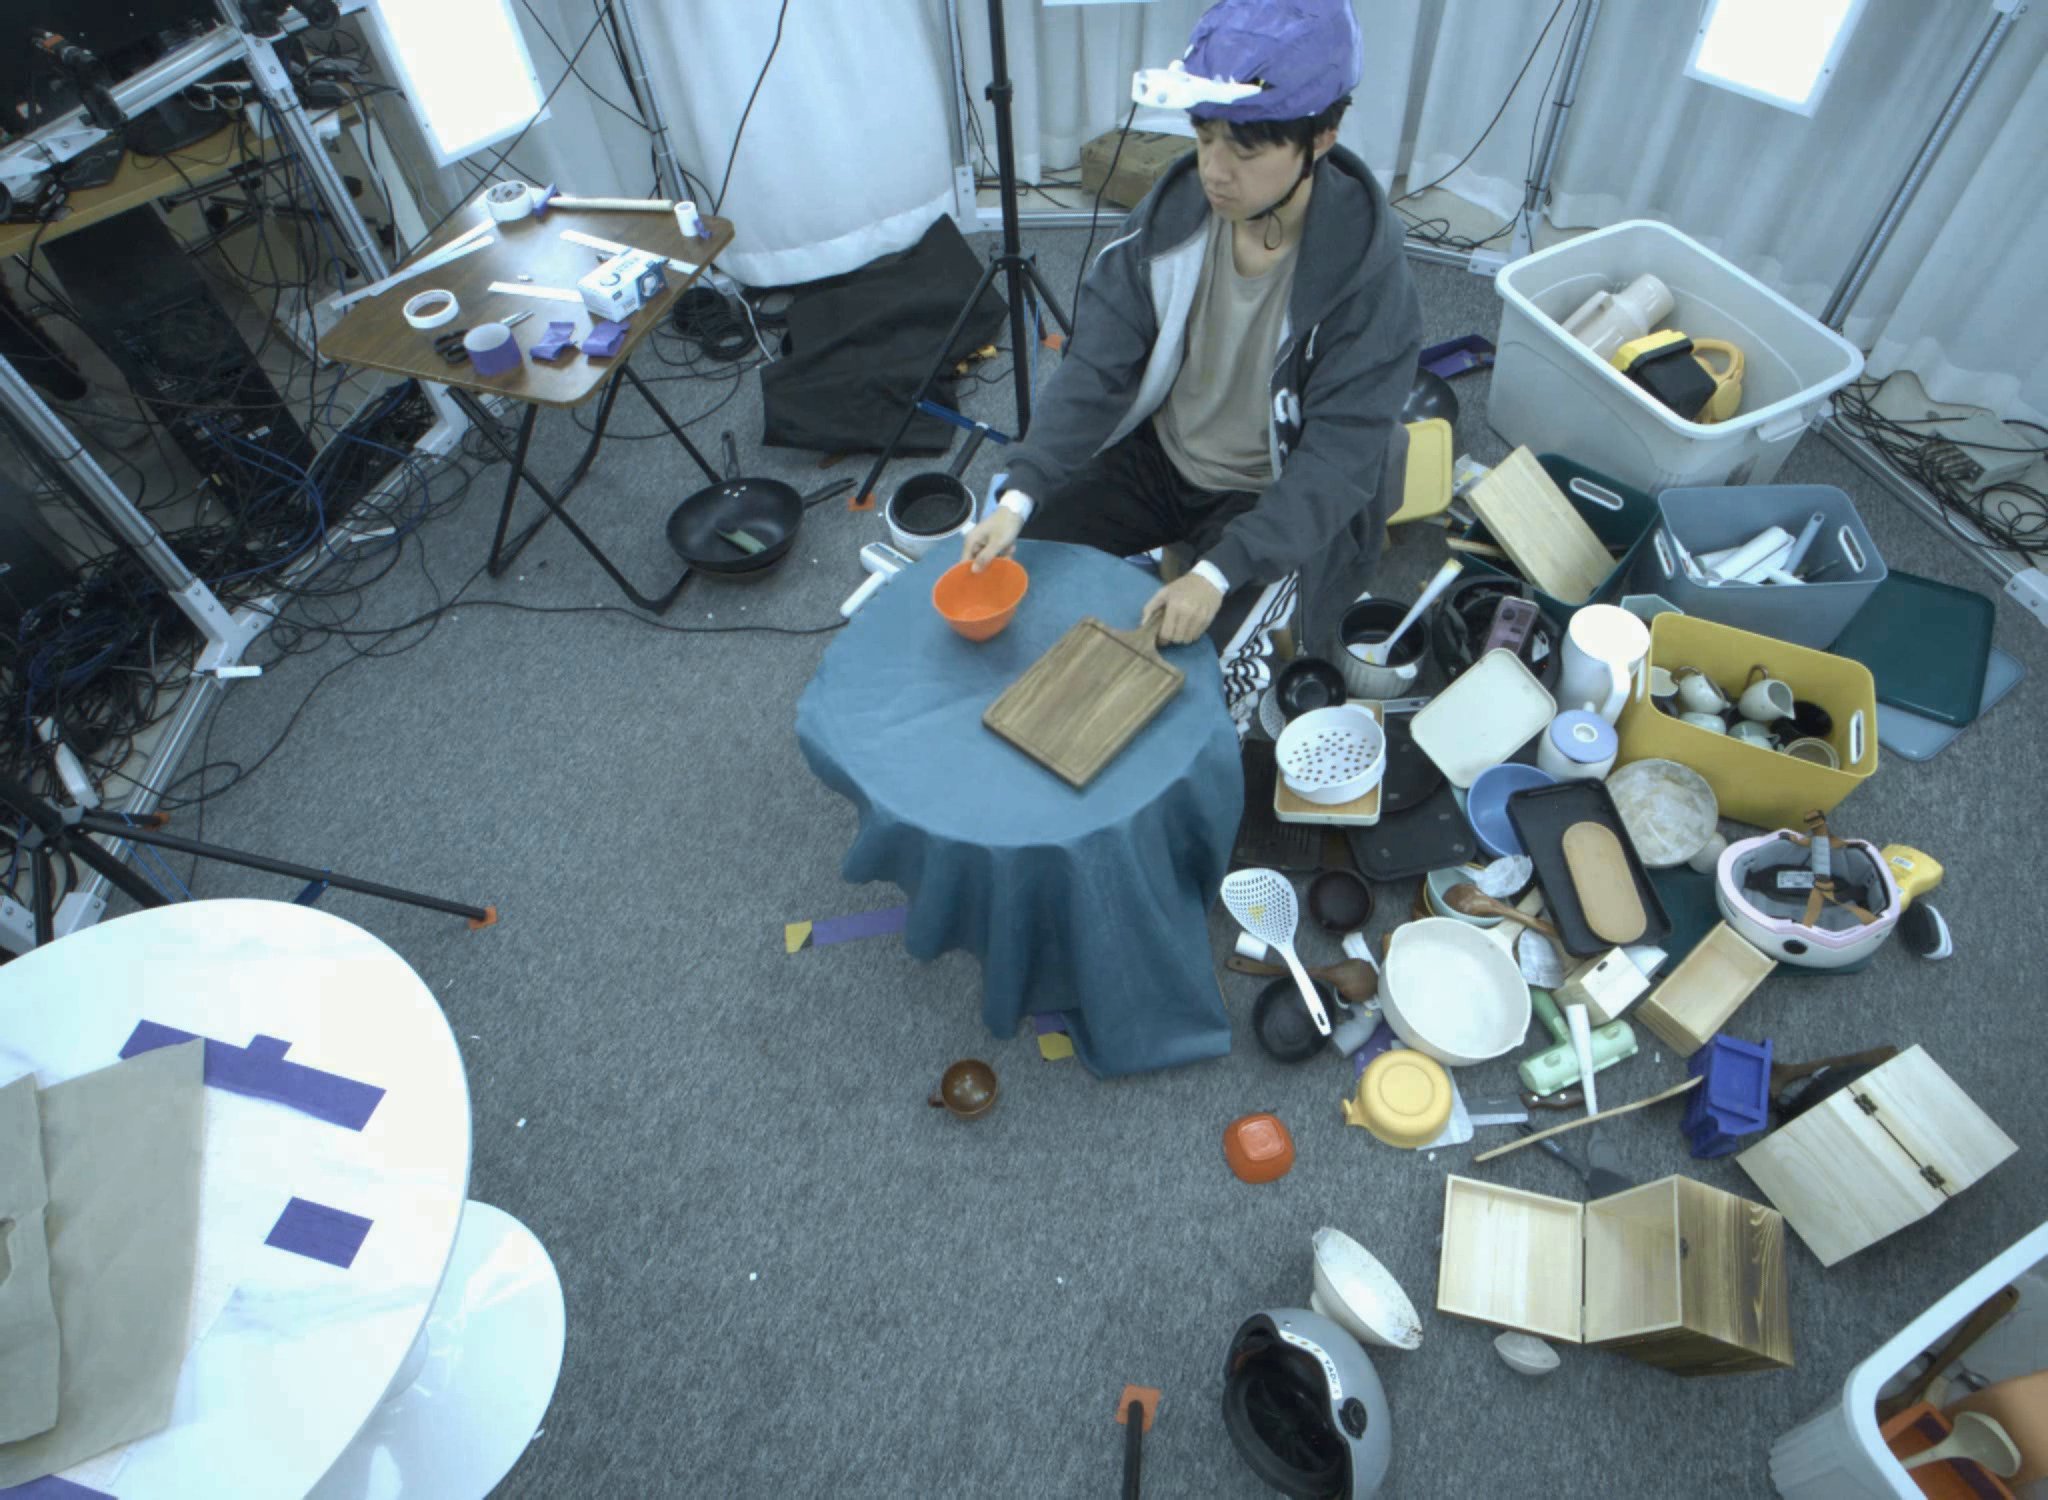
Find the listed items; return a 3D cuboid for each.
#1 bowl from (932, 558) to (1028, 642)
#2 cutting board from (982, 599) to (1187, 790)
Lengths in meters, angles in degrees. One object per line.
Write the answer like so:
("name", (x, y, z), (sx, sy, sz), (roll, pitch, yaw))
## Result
("bowl", (-0.065, -0.218, 1.886), (0.148, 0.106, 0.146), (-1, 54, 2))
("cutting board", (0.123, -0.108, 1.837), (0.197, 0.023, 0.354), (35, 66, 23))
